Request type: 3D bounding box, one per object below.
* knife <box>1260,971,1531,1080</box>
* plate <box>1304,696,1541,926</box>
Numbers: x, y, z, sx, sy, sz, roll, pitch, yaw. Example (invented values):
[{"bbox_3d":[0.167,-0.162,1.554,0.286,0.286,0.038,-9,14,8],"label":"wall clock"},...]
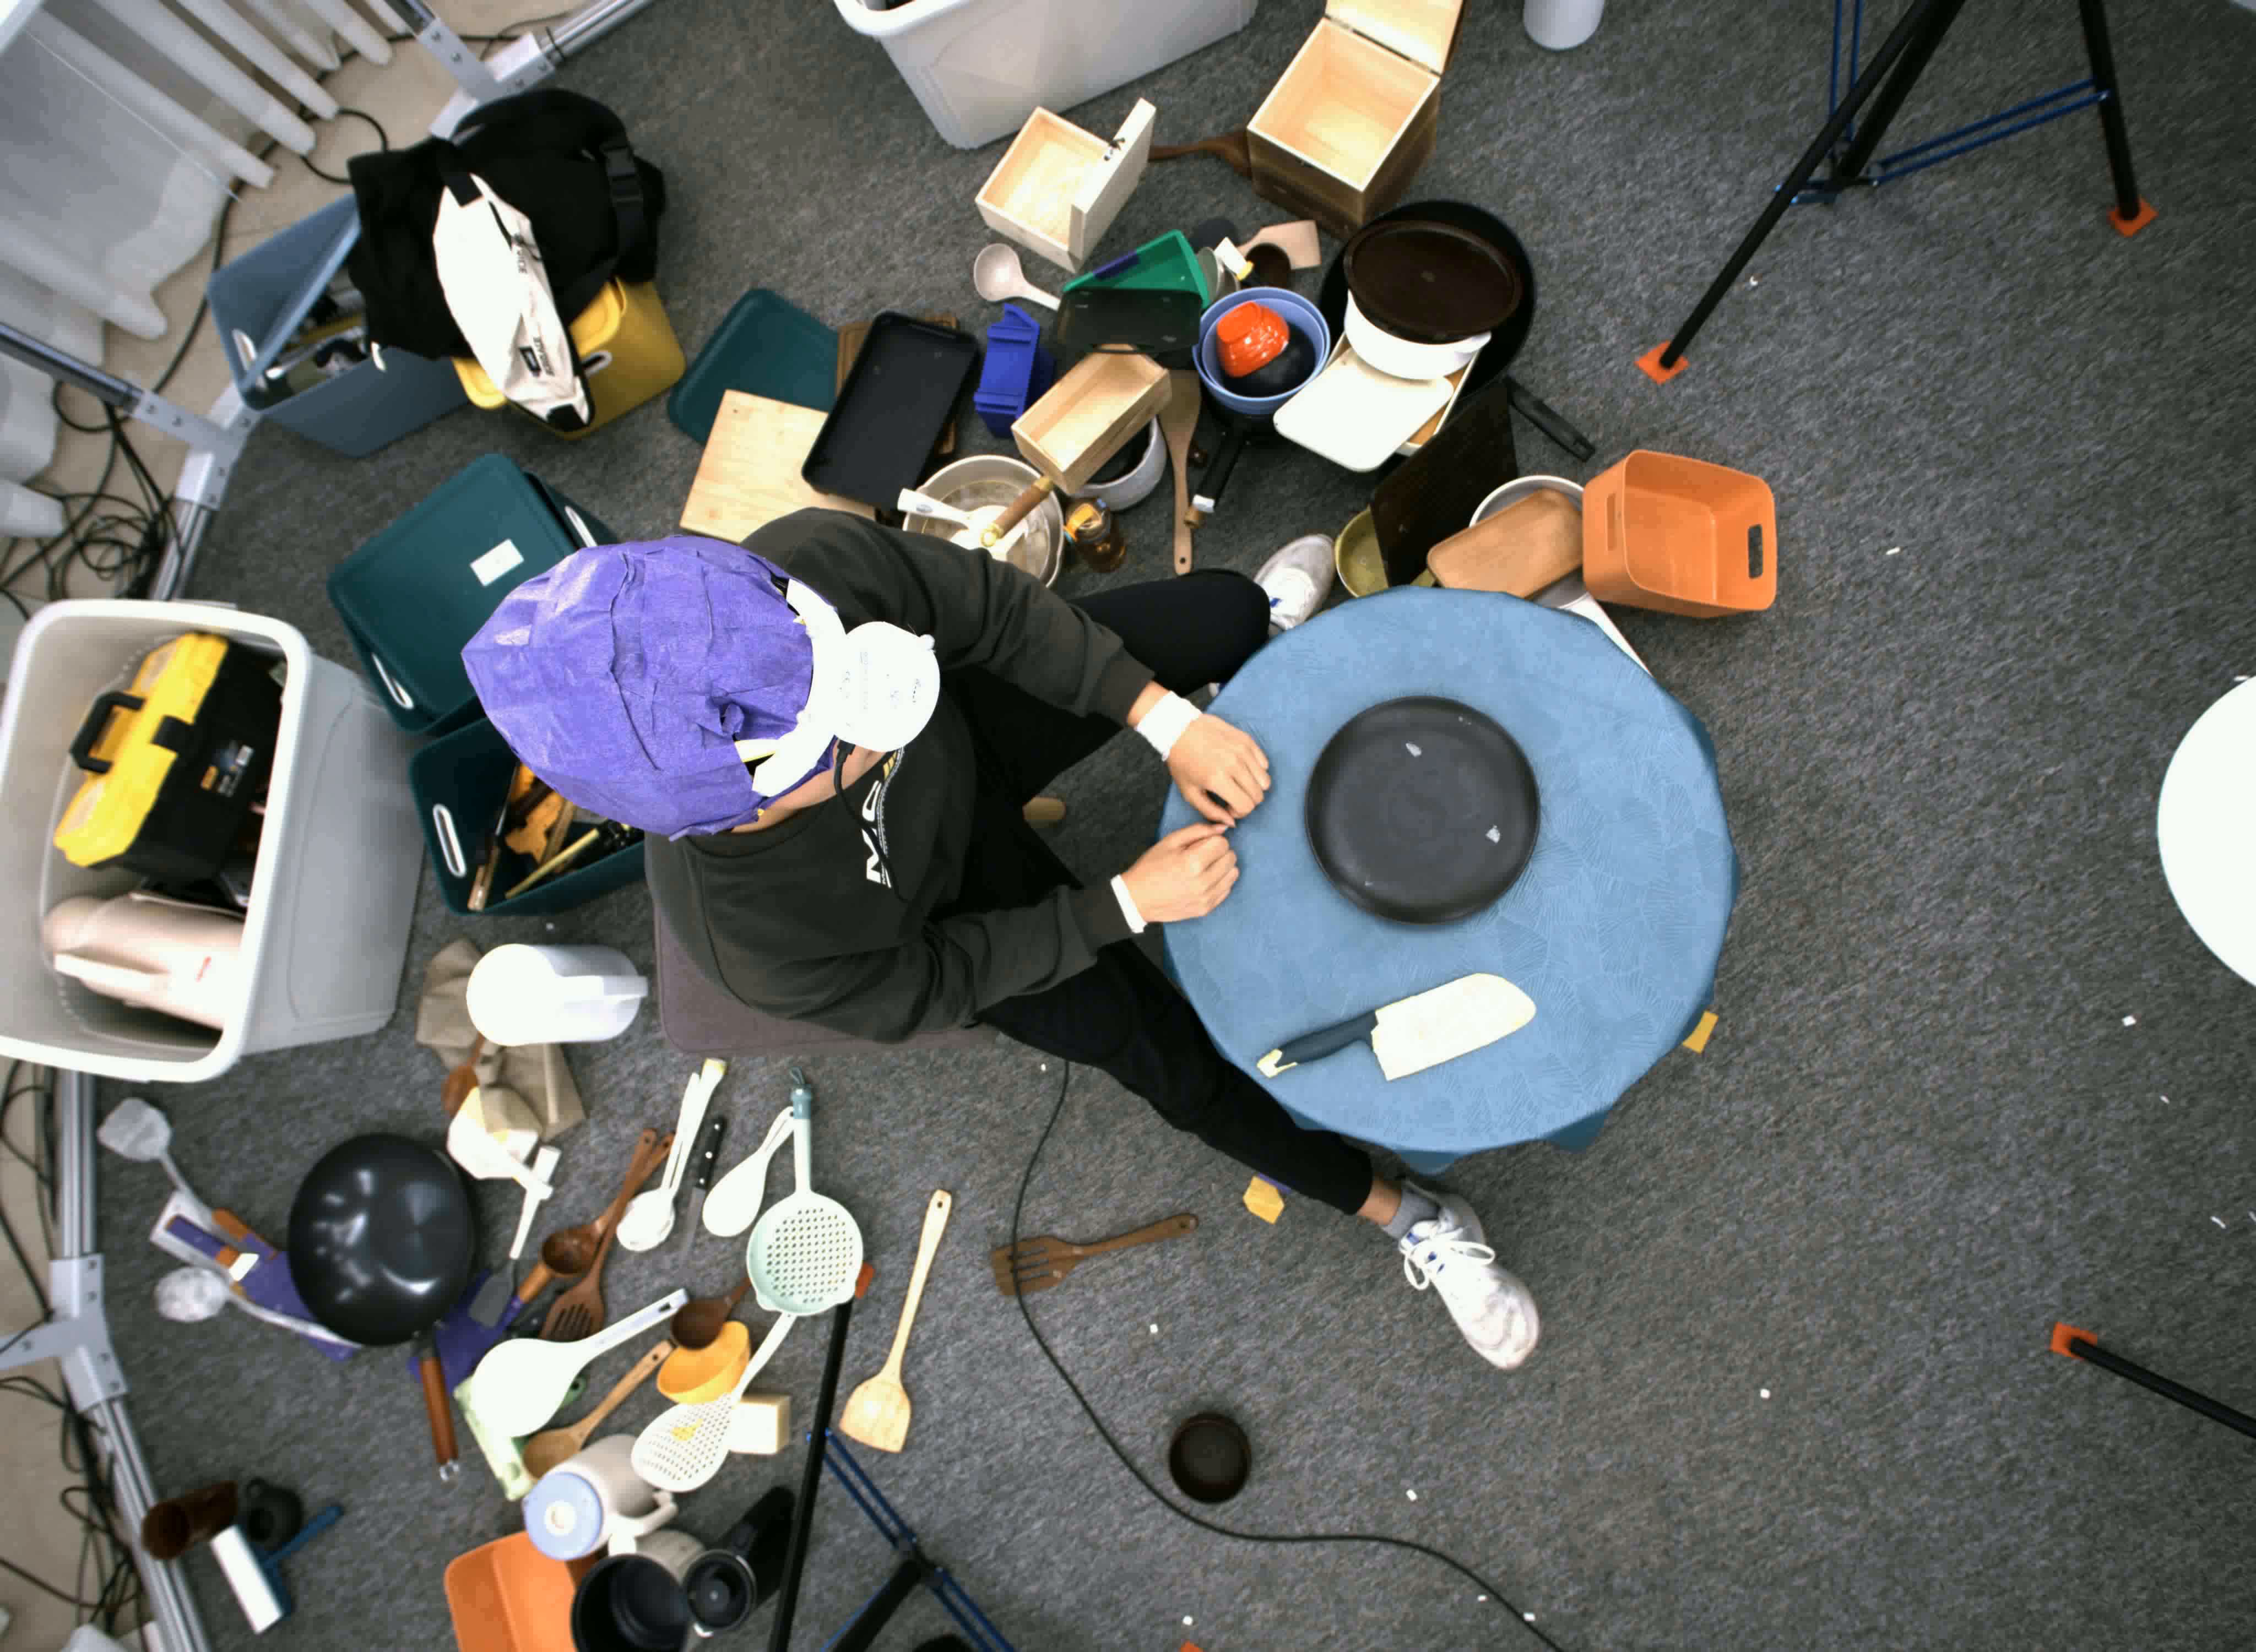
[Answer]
[{"bbox_3d":[0.280,0.219,1.443,0.291,0.027,0.080,-19,82,8],"label":"knife"},{"bbox_3d":[0.308,-0.017,1.446,0.245,0.023,0.243,-1,87,11],"label":"plate"}]
